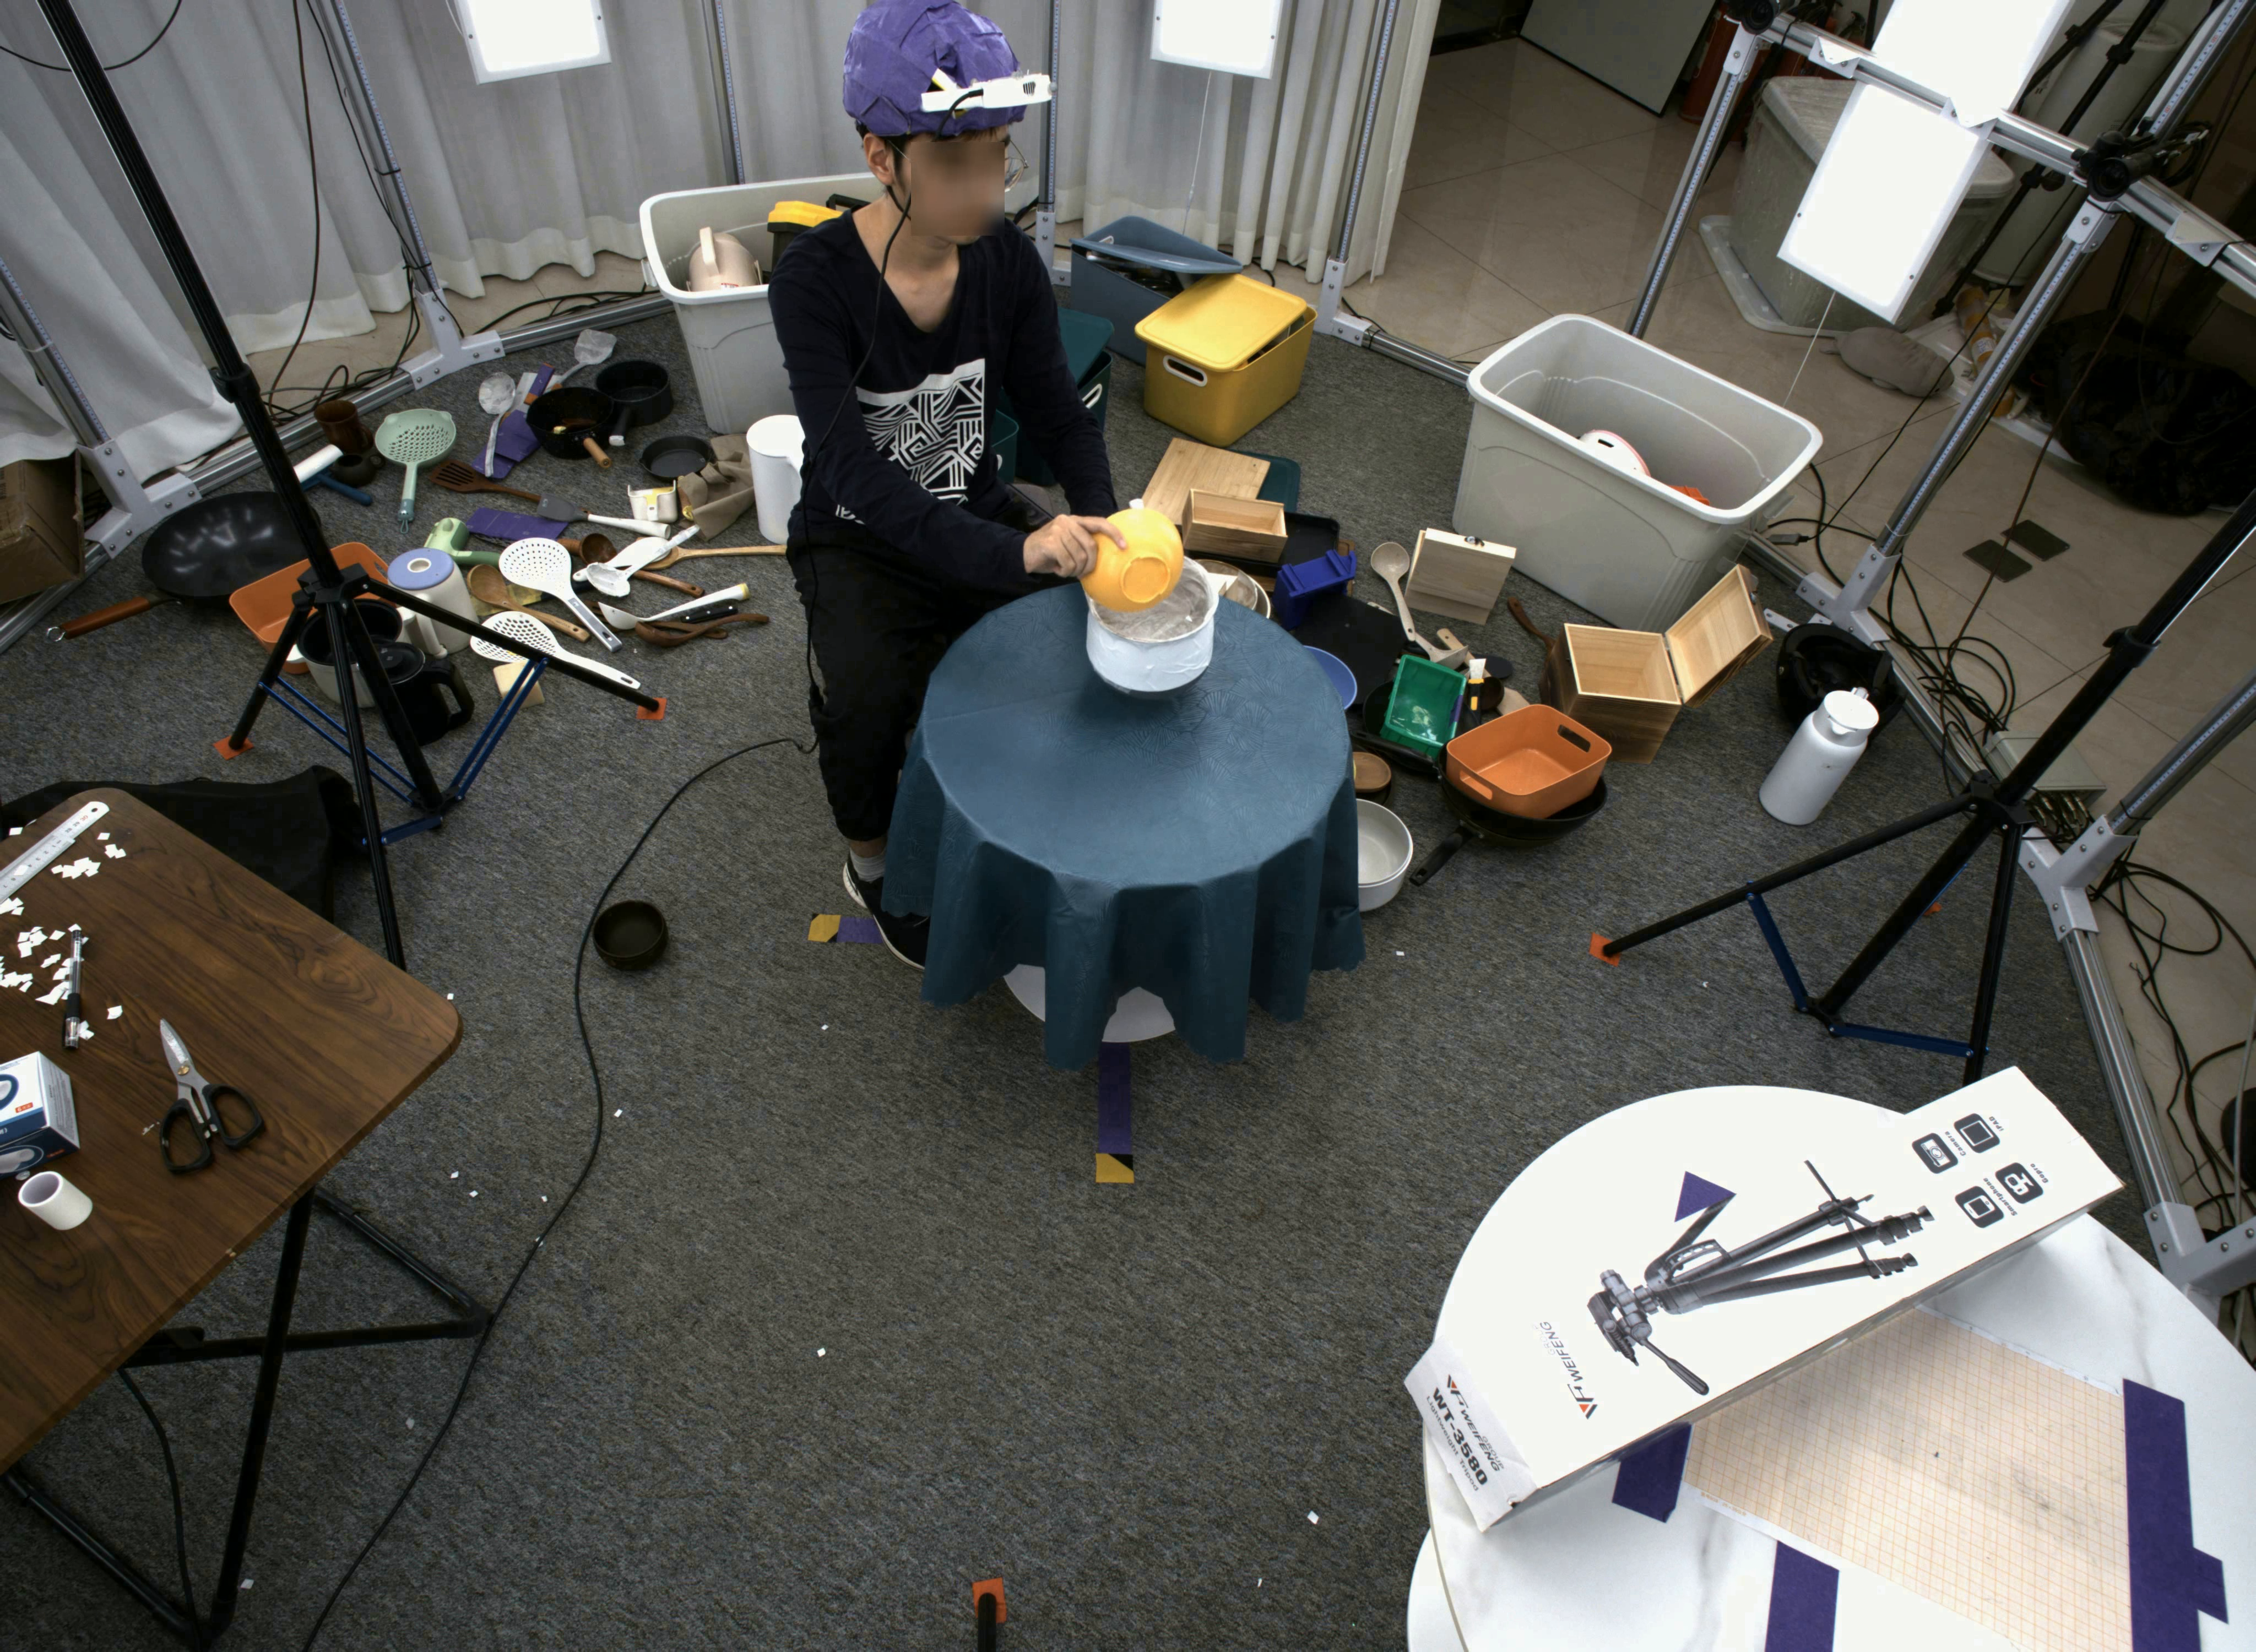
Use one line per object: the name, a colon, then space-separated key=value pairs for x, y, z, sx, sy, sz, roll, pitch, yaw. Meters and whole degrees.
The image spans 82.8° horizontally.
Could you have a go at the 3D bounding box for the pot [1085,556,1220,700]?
pot: x=0.023 y=-0.295 z=1.780 sx=0.178 sy=0.133 sz=0.239 roll=-11 pitch=55 yaw=-12

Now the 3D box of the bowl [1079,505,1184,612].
bowl: x=0.014 y=-0.331 z=1.648 sx=0.145 sy=0.142 sz=0.061 roll=-14 pitch=38 yaw=-16
